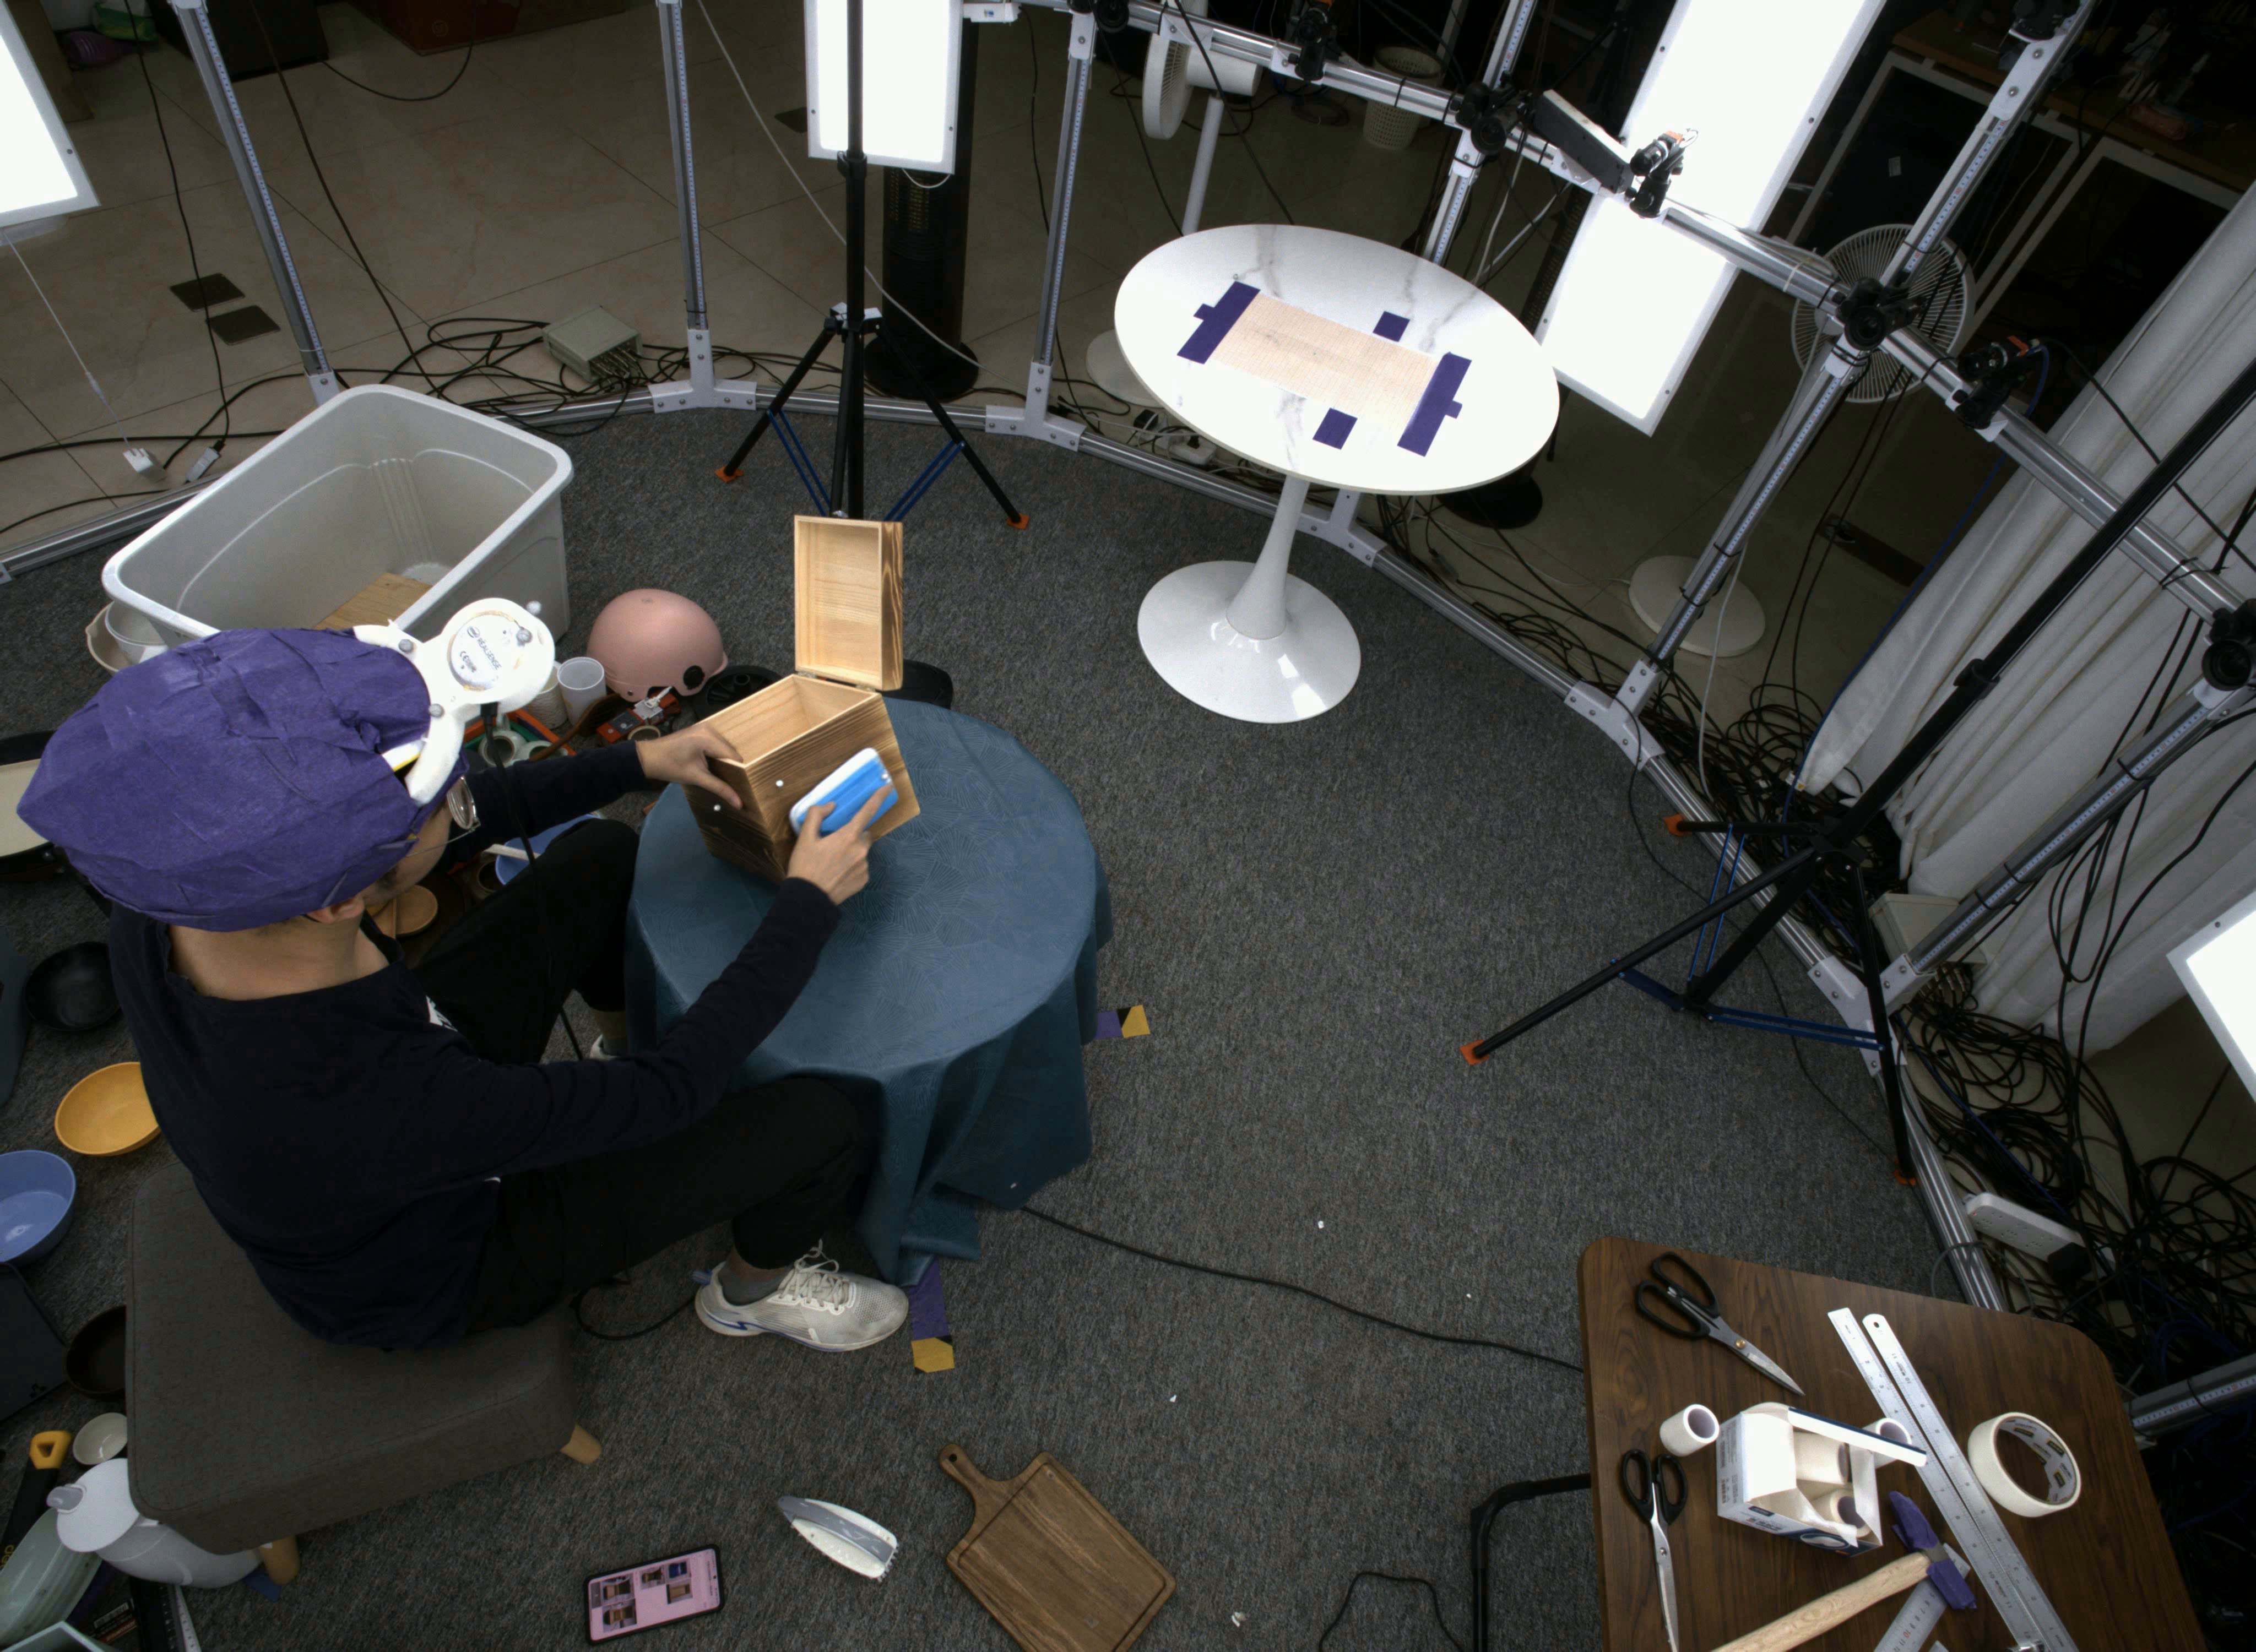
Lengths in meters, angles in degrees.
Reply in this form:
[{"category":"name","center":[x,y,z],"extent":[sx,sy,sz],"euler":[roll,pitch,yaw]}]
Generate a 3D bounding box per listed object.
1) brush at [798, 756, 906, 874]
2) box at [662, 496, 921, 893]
[{"category":"brush","center":[-0.318,-0.014,1.533],"extent":[0.054,0.087,0.144],"euler":[8,45,42]},{"category":"box","center":[-0.407,-0.170,1.590],"extent":[0.201,0.389,0.323],"euler":[16,41,42]}]
